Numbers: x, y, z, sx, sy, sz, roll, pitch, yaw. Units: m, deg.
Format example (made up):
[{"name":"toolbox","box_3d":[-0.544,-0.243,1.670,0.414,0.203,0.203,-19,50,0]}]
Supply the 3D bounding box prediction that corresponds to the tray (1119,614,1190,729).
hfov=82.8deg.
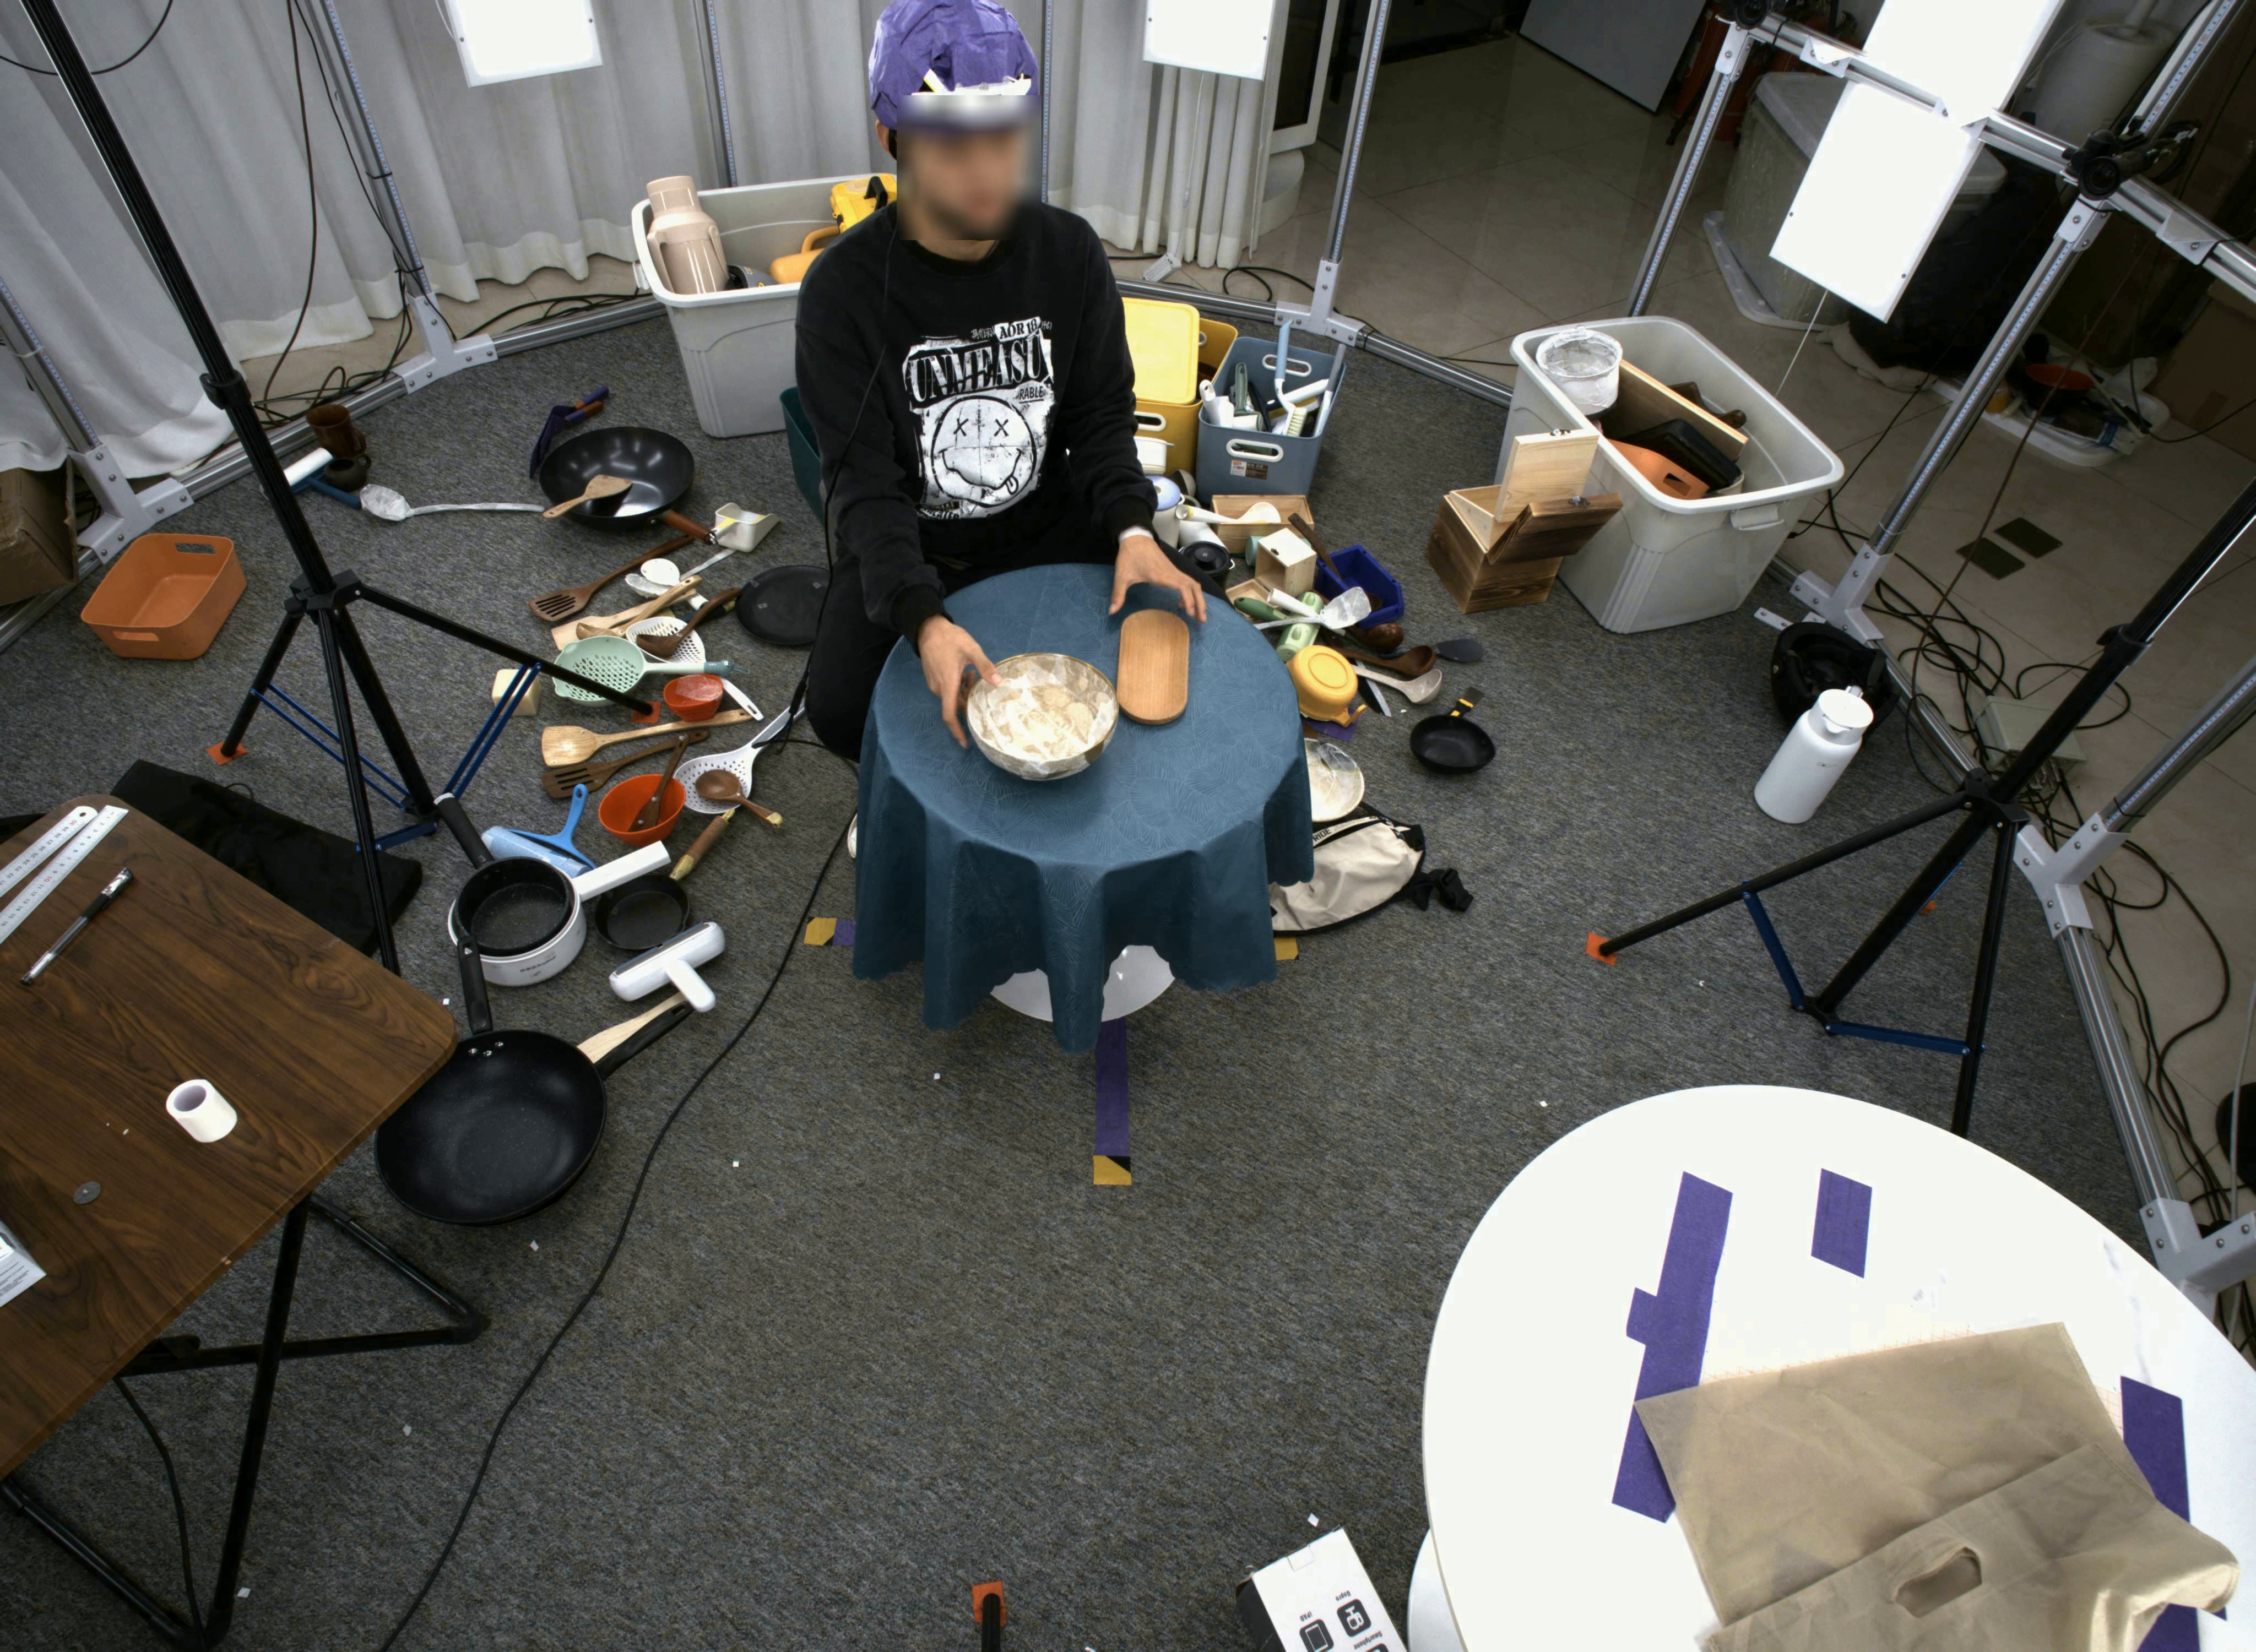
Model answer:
[{"name":"tray","box_3d":[0.039,-0.229,1.877,0.101,0.020,0.237,2,50,1]}]

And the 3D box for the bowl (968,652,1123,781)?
[{"name":"bowl","box_3d":[-0.110,-0.134,1.732,0.214,0.092,0.220,1,49,-1]}]
